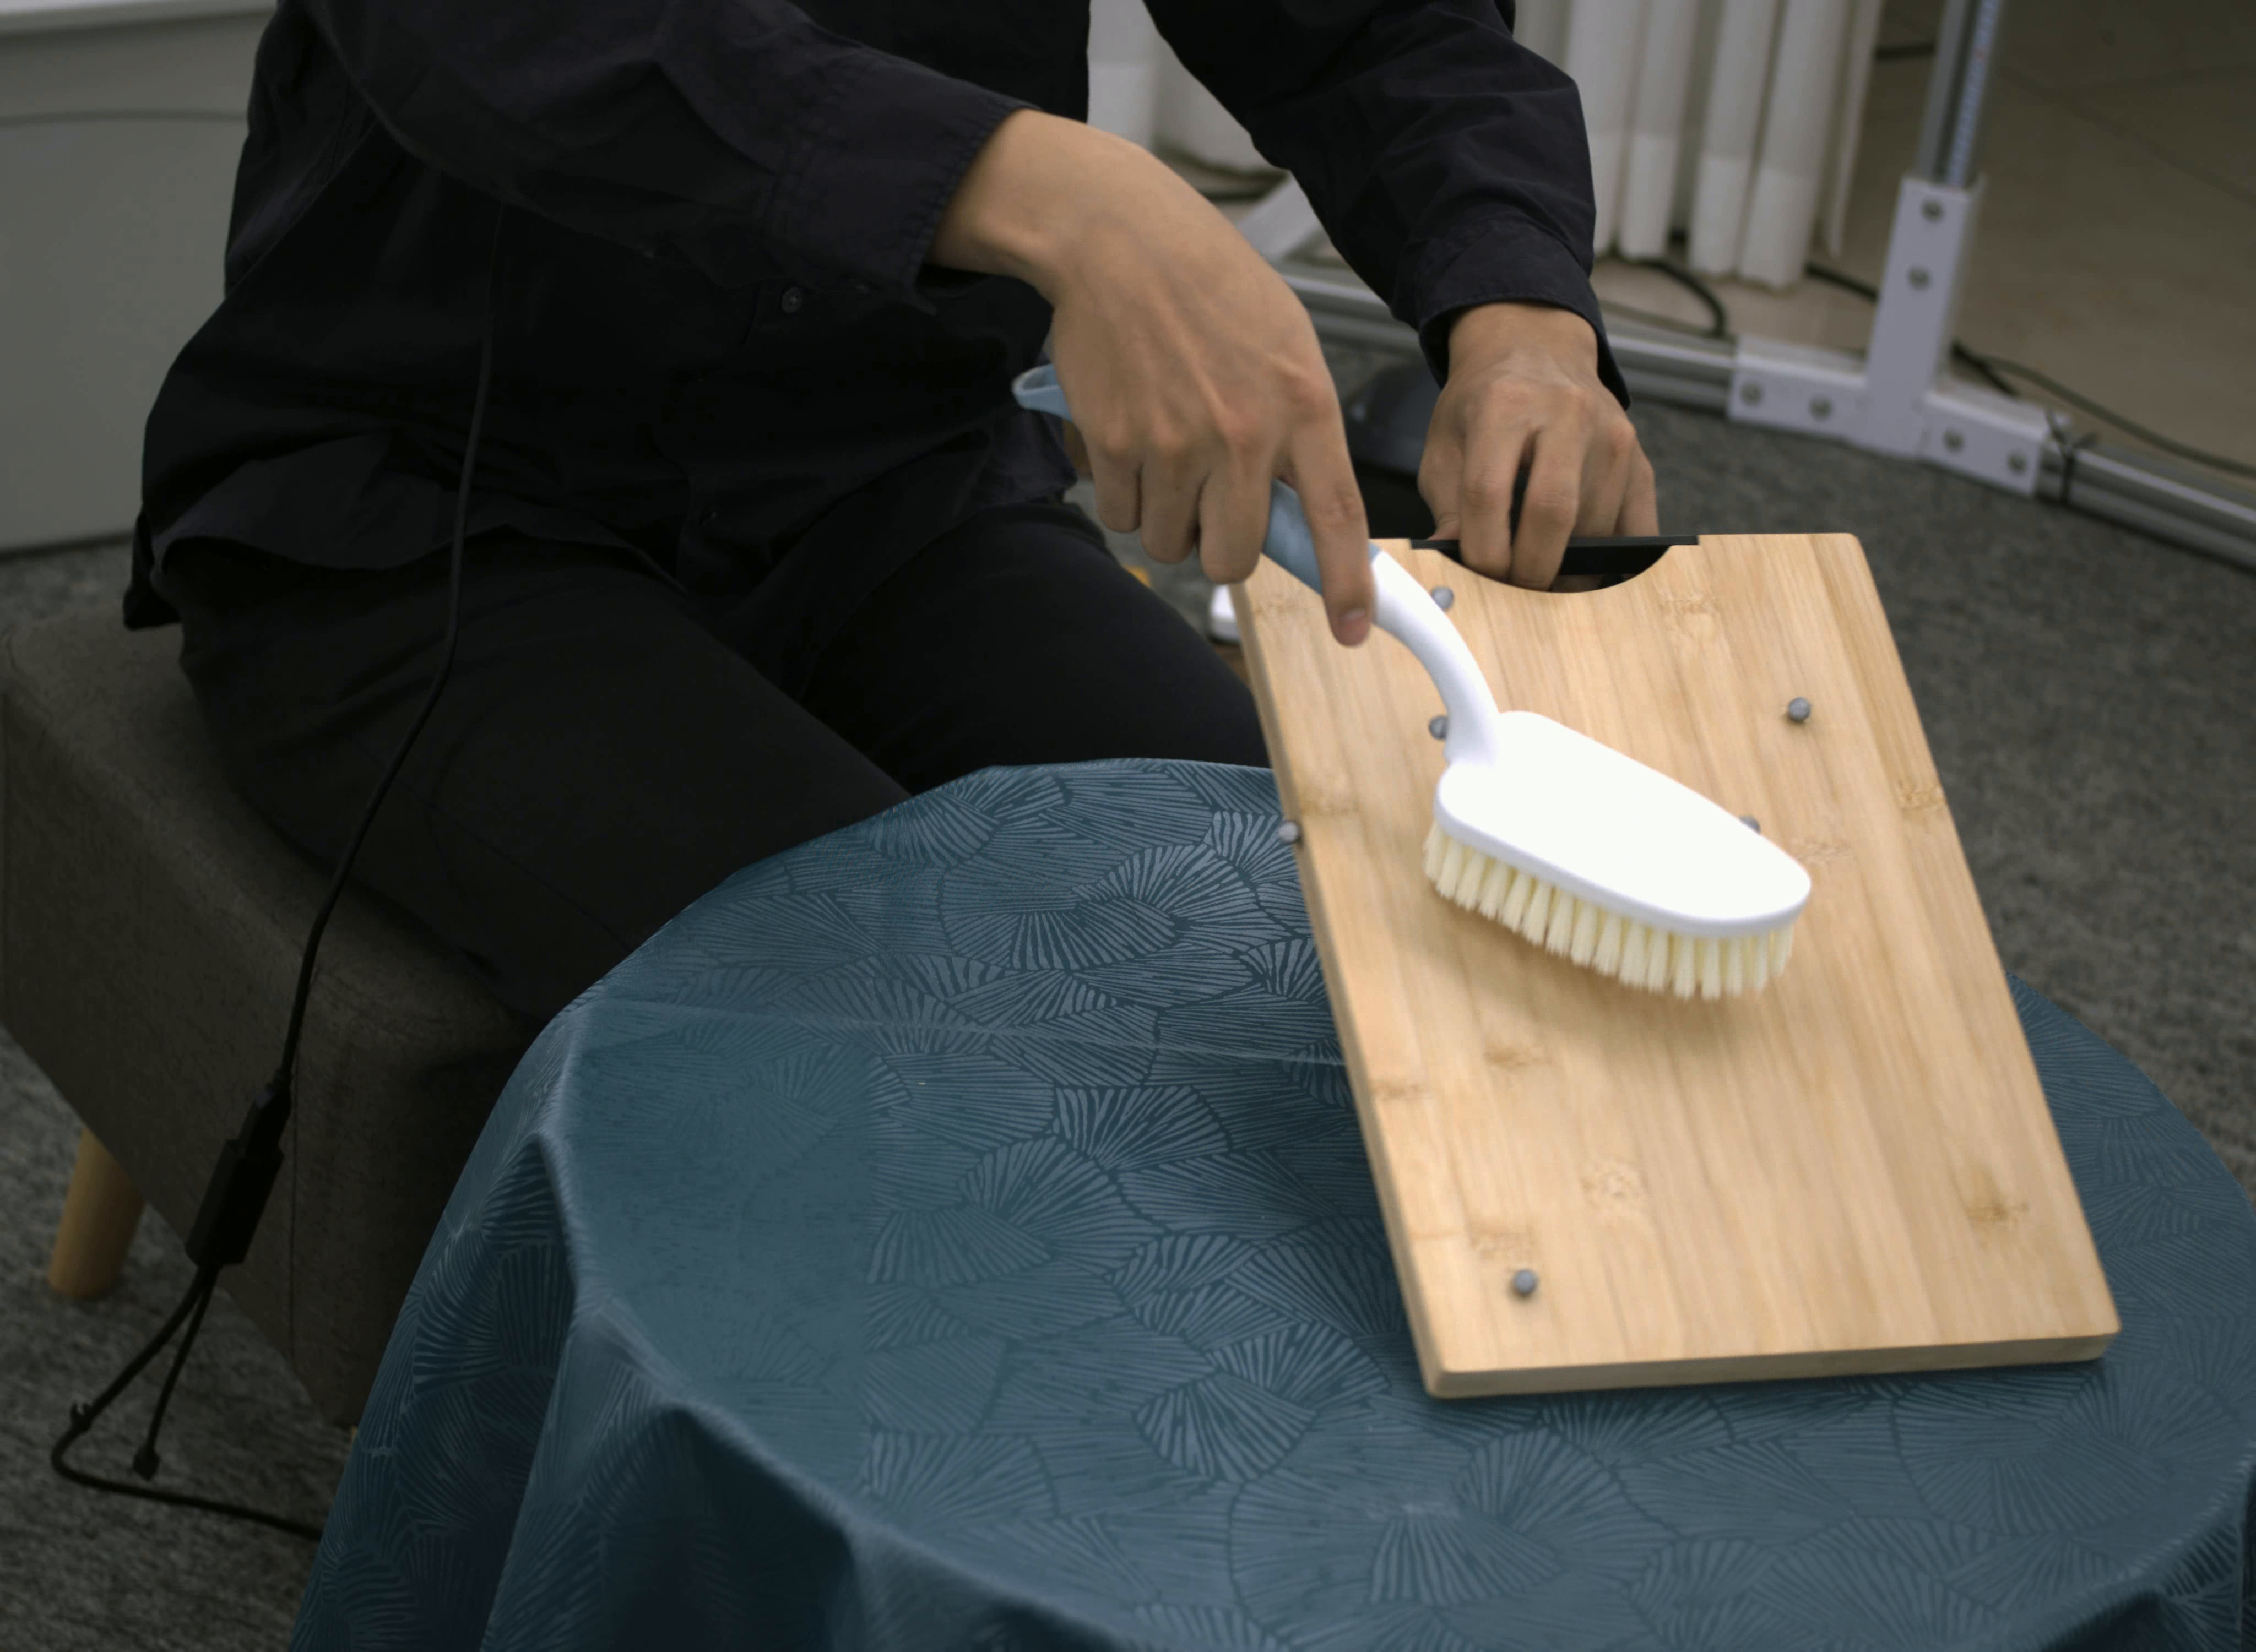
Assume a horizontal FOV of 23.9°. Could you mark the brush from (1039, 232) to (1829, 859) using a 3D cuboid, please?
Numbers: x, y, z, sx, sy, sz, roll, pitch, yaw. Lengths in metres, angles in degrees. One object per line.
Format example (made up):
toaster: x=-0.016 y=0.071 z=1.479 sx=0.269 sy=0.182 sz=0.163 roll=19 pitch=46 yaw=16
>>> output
brush: x=0.096 y=-0.088 z=1.831 sx=0.326 sy=0.084 sz=0.083 roll=35 pitch=5 yaw=8

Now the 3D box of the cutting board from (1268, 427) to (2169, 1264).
cutting board: x=0.199 y=0.000 z=1.851 sx=0.249 sy=0.023 sz=0.352 roll=-3 pitch=54 yaw=-17
